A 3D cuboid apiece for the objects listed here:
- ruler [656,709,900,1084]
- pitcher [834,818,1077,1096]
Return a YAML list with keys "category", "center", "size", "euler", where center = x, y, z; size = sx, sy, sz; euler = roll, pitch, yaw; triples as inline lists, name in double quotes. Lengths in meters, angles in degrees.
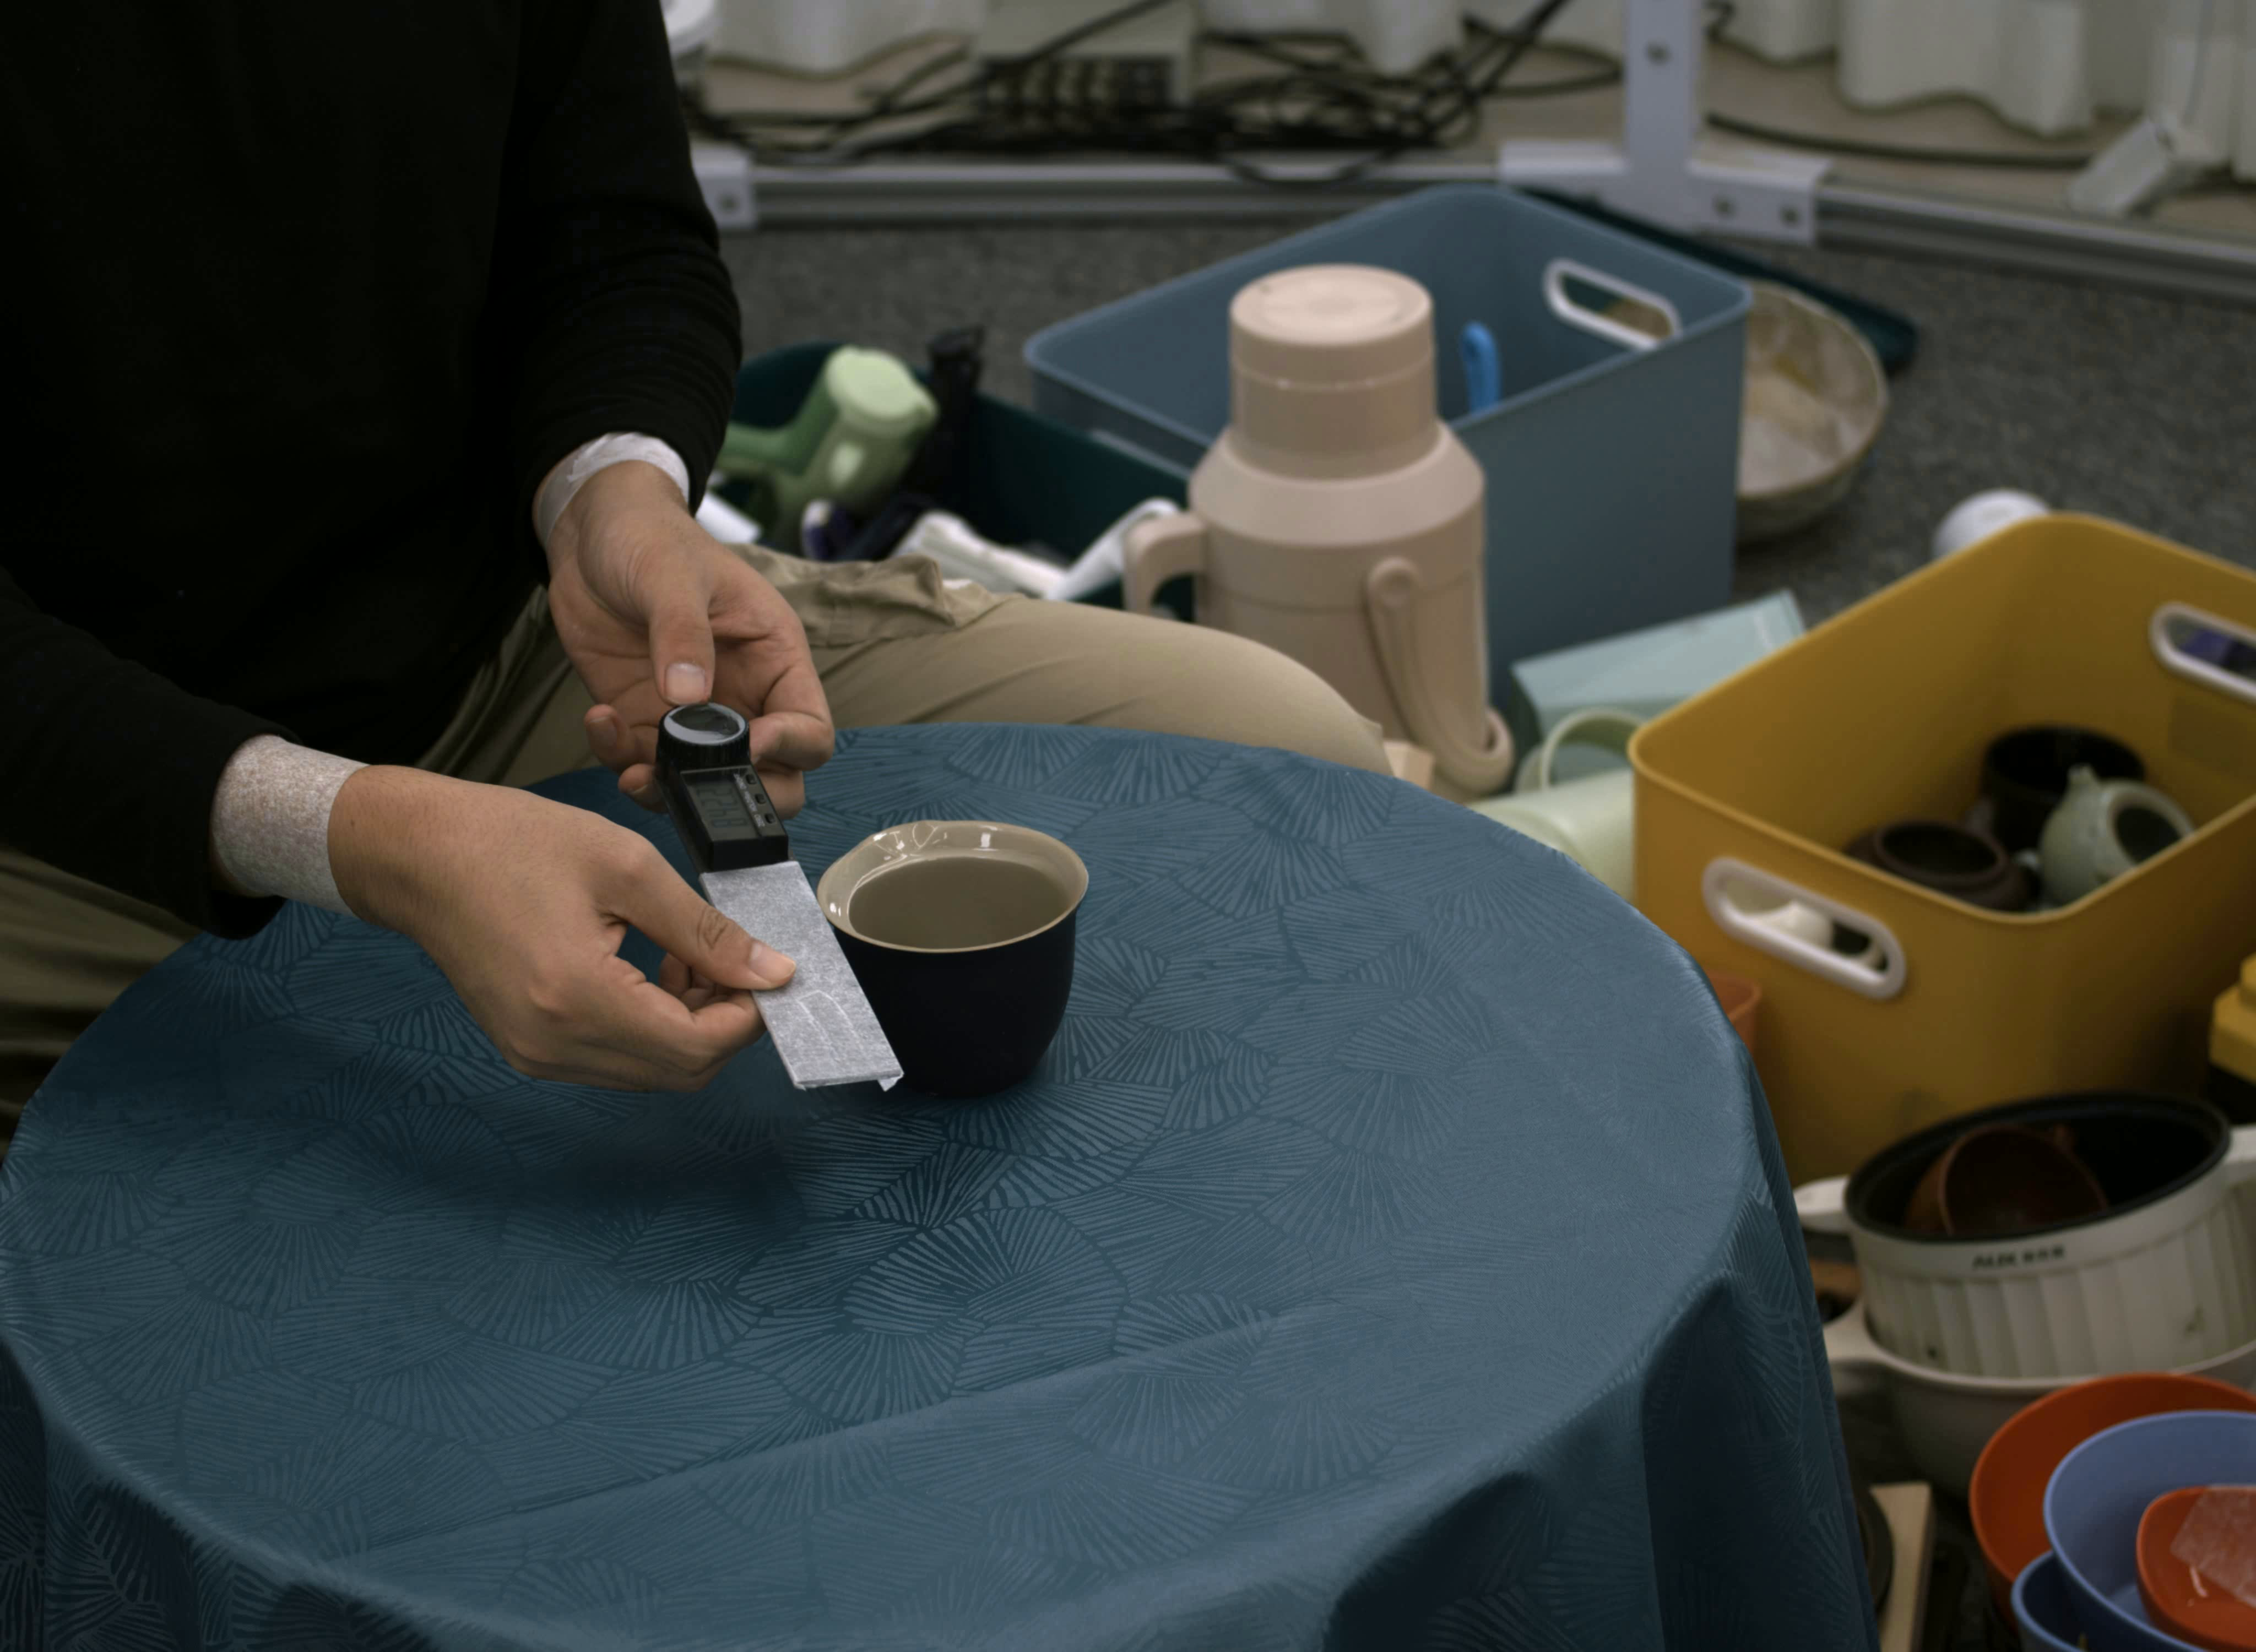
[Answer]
- category: "ruler"
  center: [-0.122, 0.020, 1.892]
  size: [0.038, 0.024, 0.220]
  euler: [-10, 31, -13]
- category: "pitcher"
  center: [-0.060, 0.048, 1.931]
  size: [0.084, 0.070, 0.096]
  euler: [-14, 30, -20]
